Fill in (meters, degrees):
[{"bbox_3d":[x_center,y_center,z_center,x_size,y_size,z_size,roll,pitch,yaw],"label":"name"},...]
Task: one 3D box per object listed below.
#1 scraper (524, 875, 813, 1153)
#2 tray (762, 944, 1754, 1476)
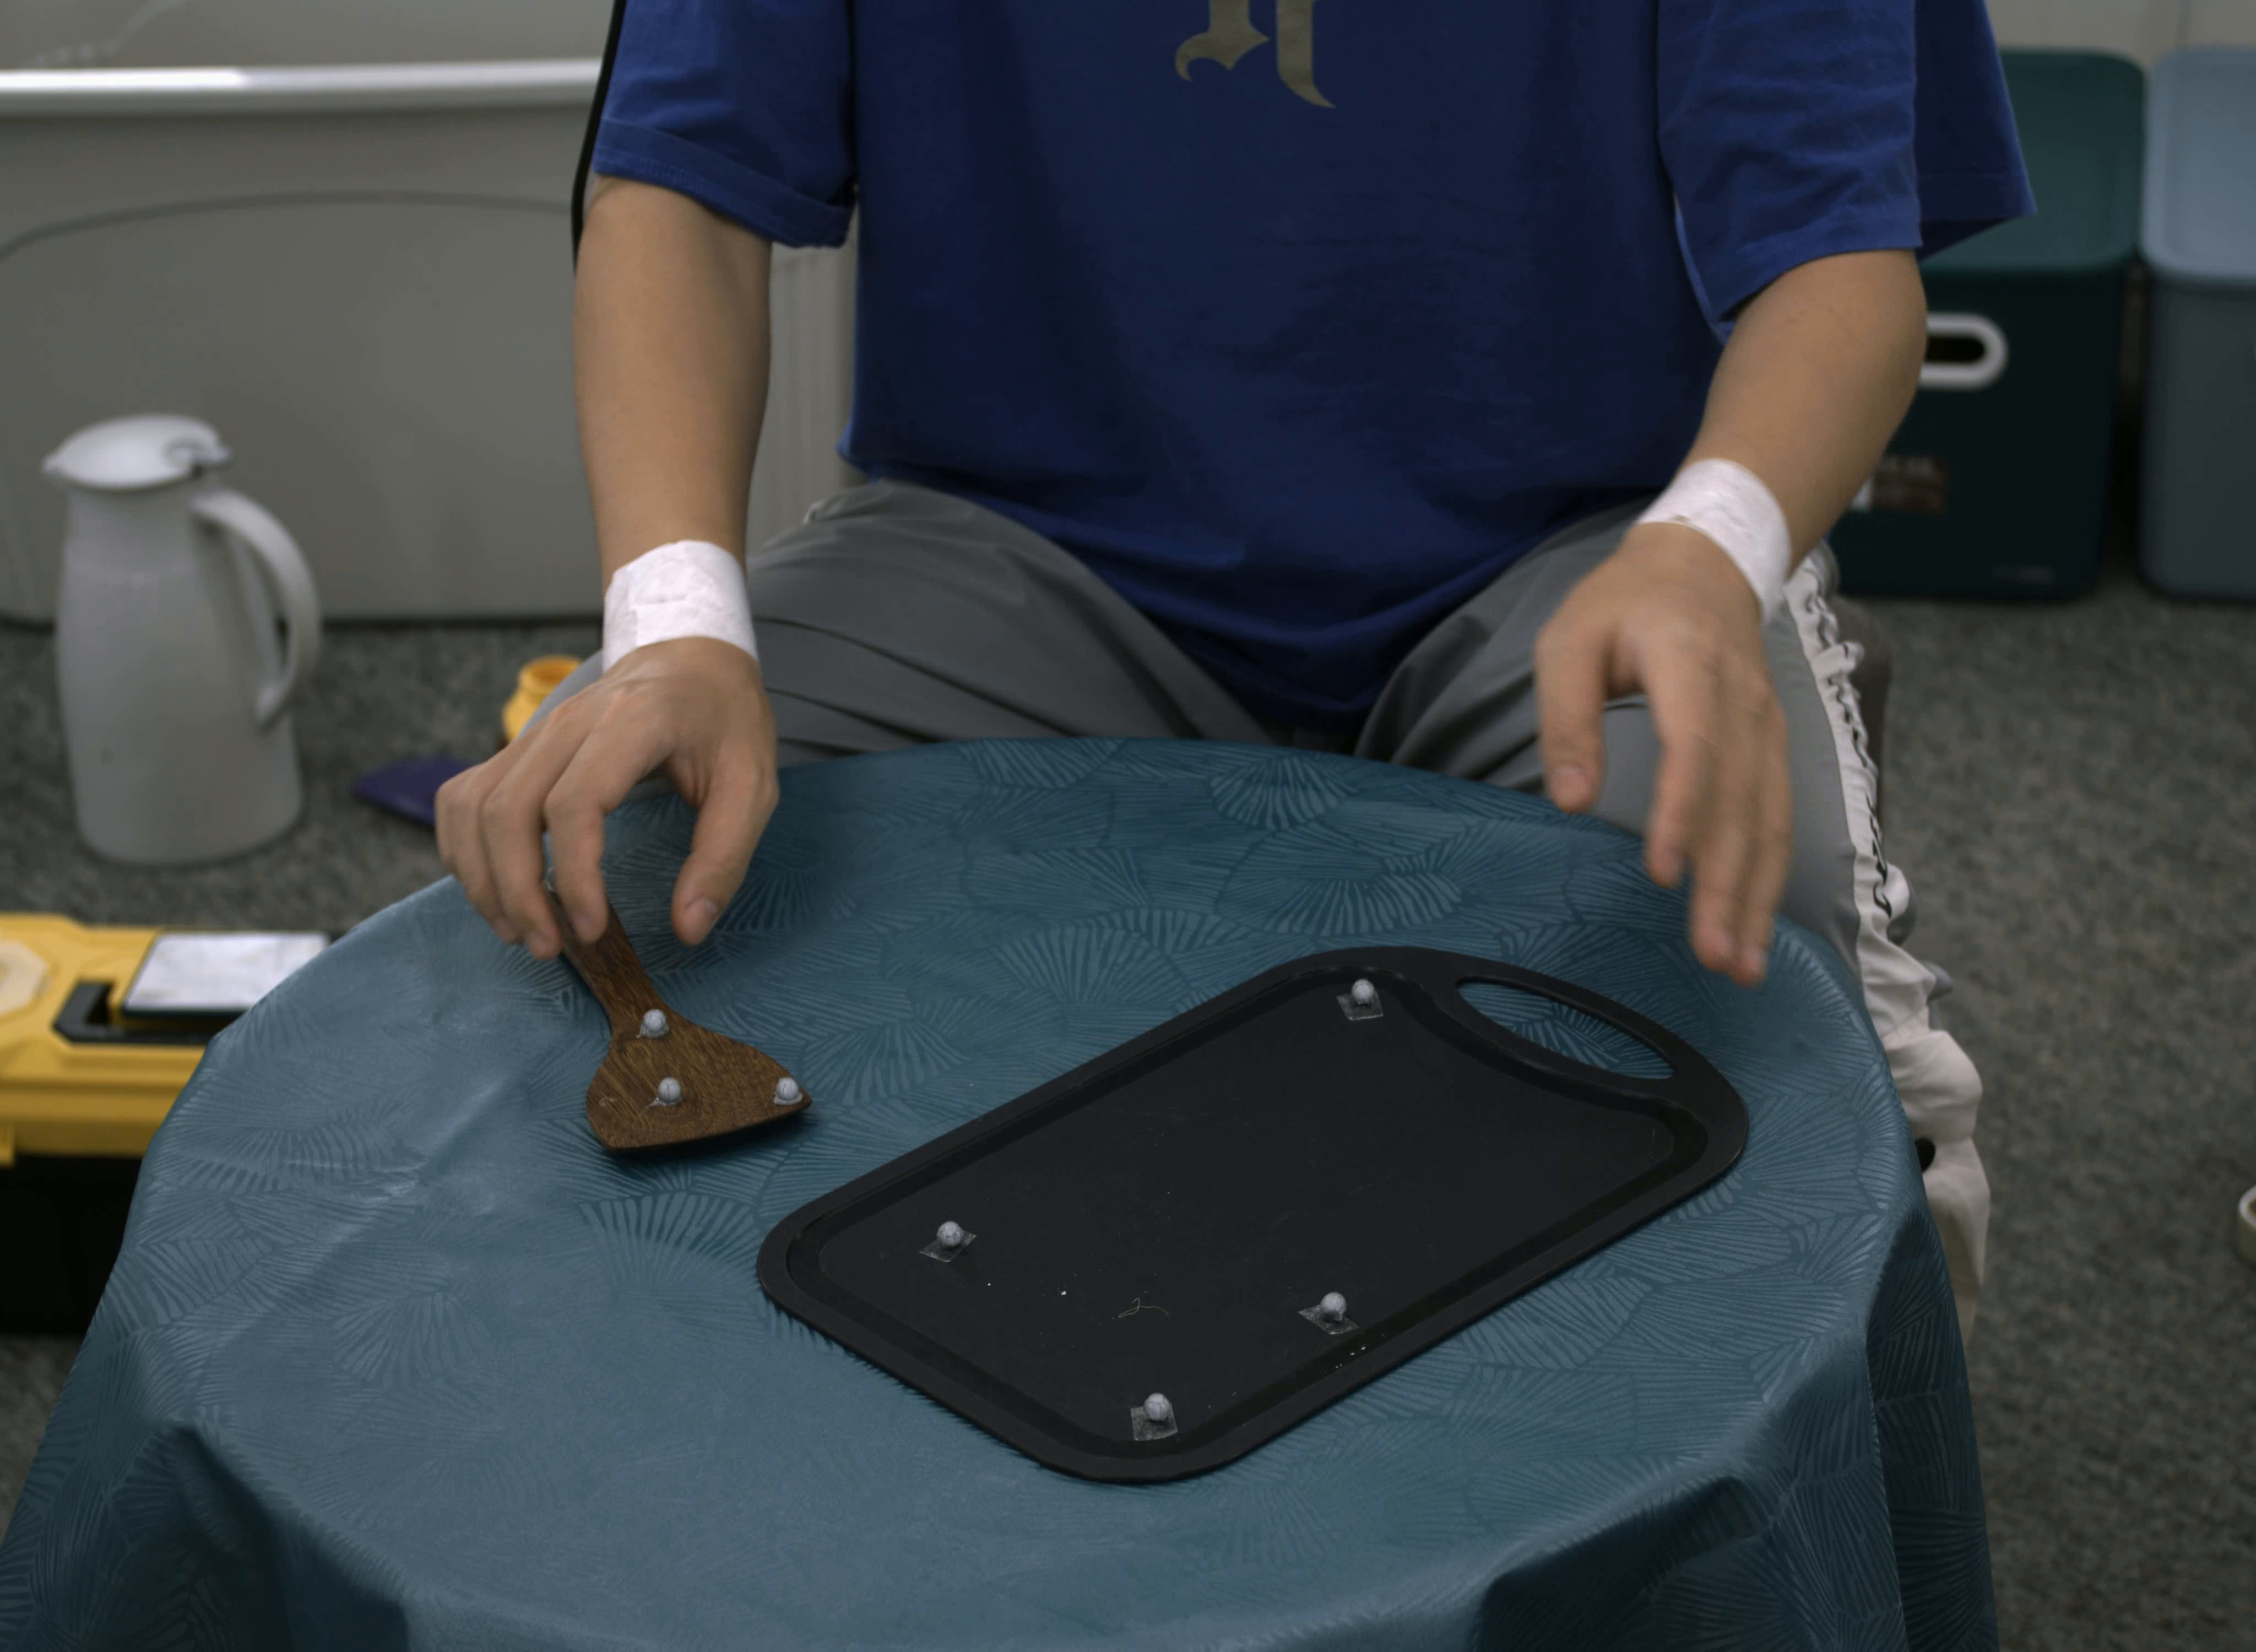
[{"bbox_3d":[-0.174,0.064,1.979,0.076,0.011,0.213,-11,28,-17],"label":"scraper"},{"bbox_3d":[0.050,0.116,1.858,0.329,0.009,0.211,-25,35,-36],"label":"tray"}]
